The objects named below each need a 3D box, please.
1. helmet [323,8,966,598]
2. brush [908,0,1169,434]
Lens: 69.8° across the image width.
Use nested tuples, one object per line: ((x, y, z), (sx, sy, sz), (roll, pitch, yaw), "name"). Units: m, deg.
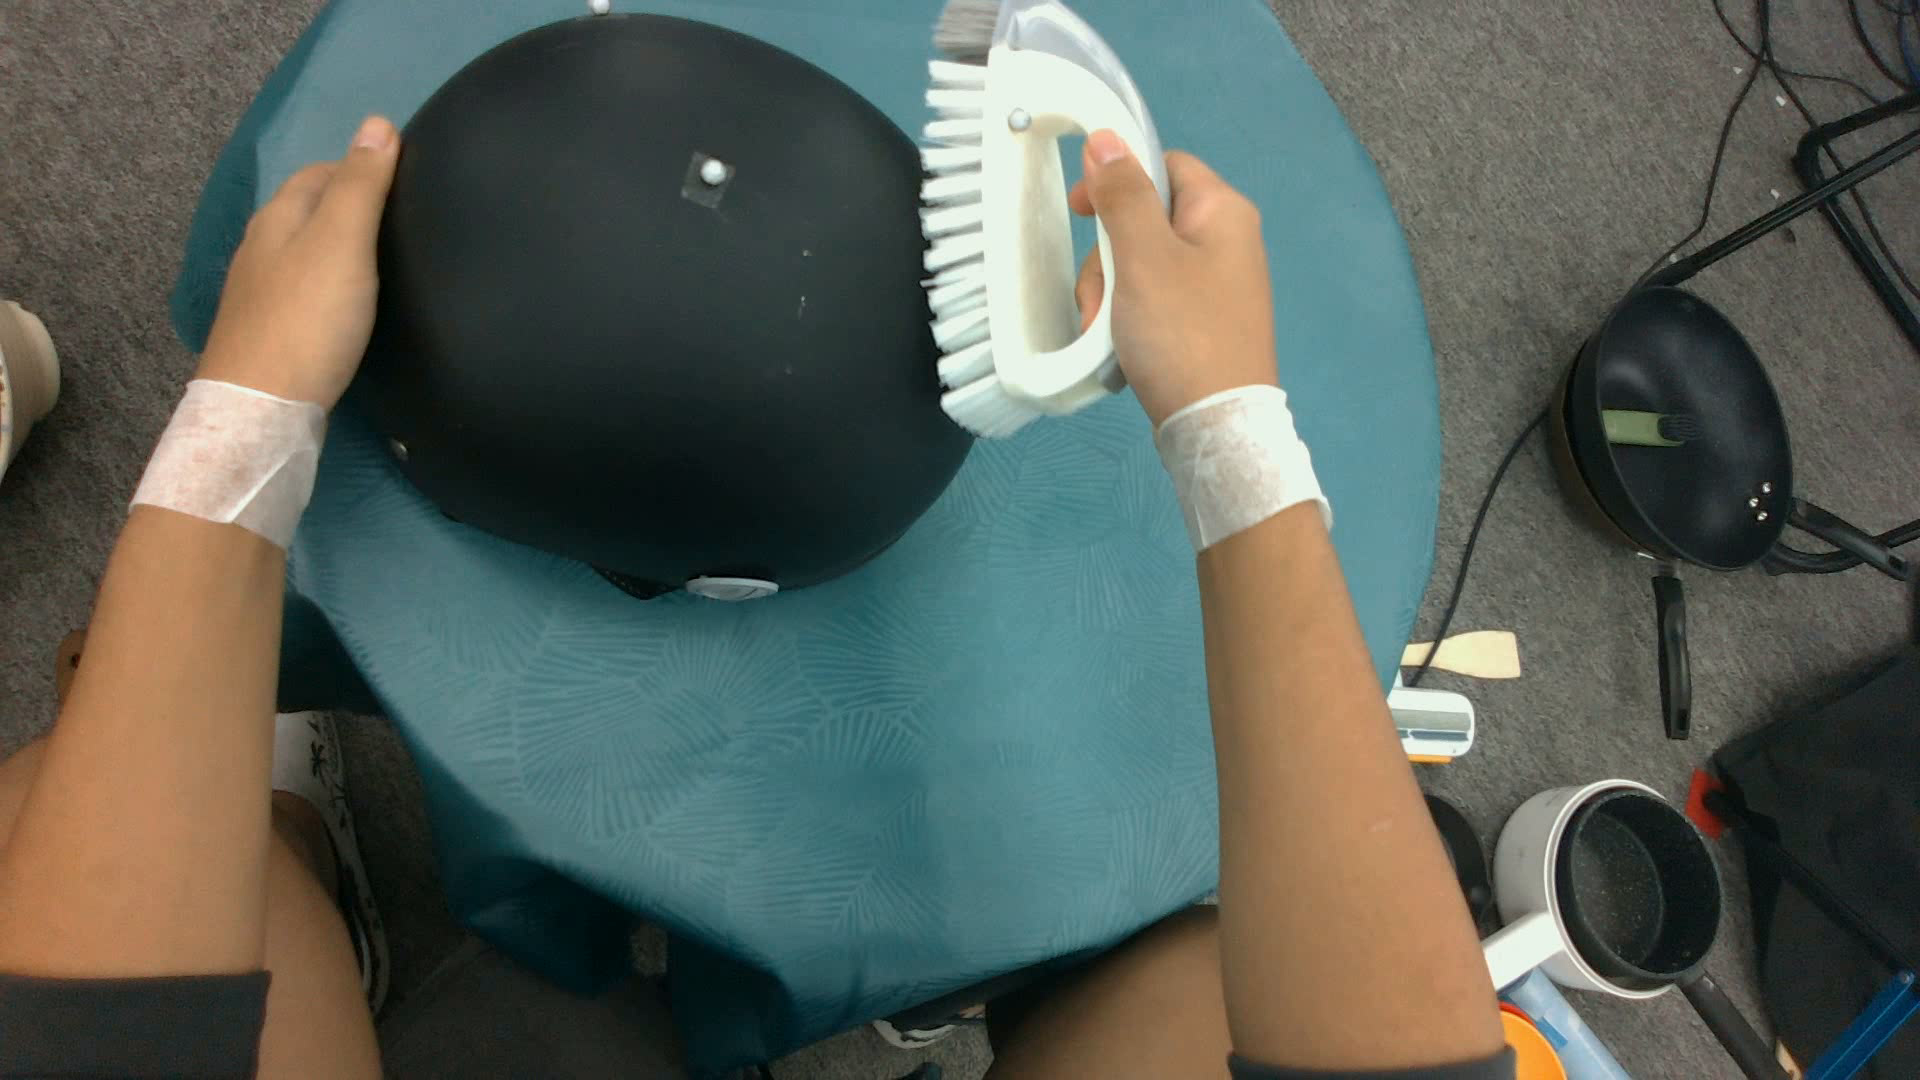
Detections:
((-0.104, -0.102, 0.548), (0.273, 0.166, 0.230), (17, 72, -20), "helmet")
((0.029, -0.134, 0.521), (0.061, 0.094, 0.176), (19, 63, -60), "brush")
